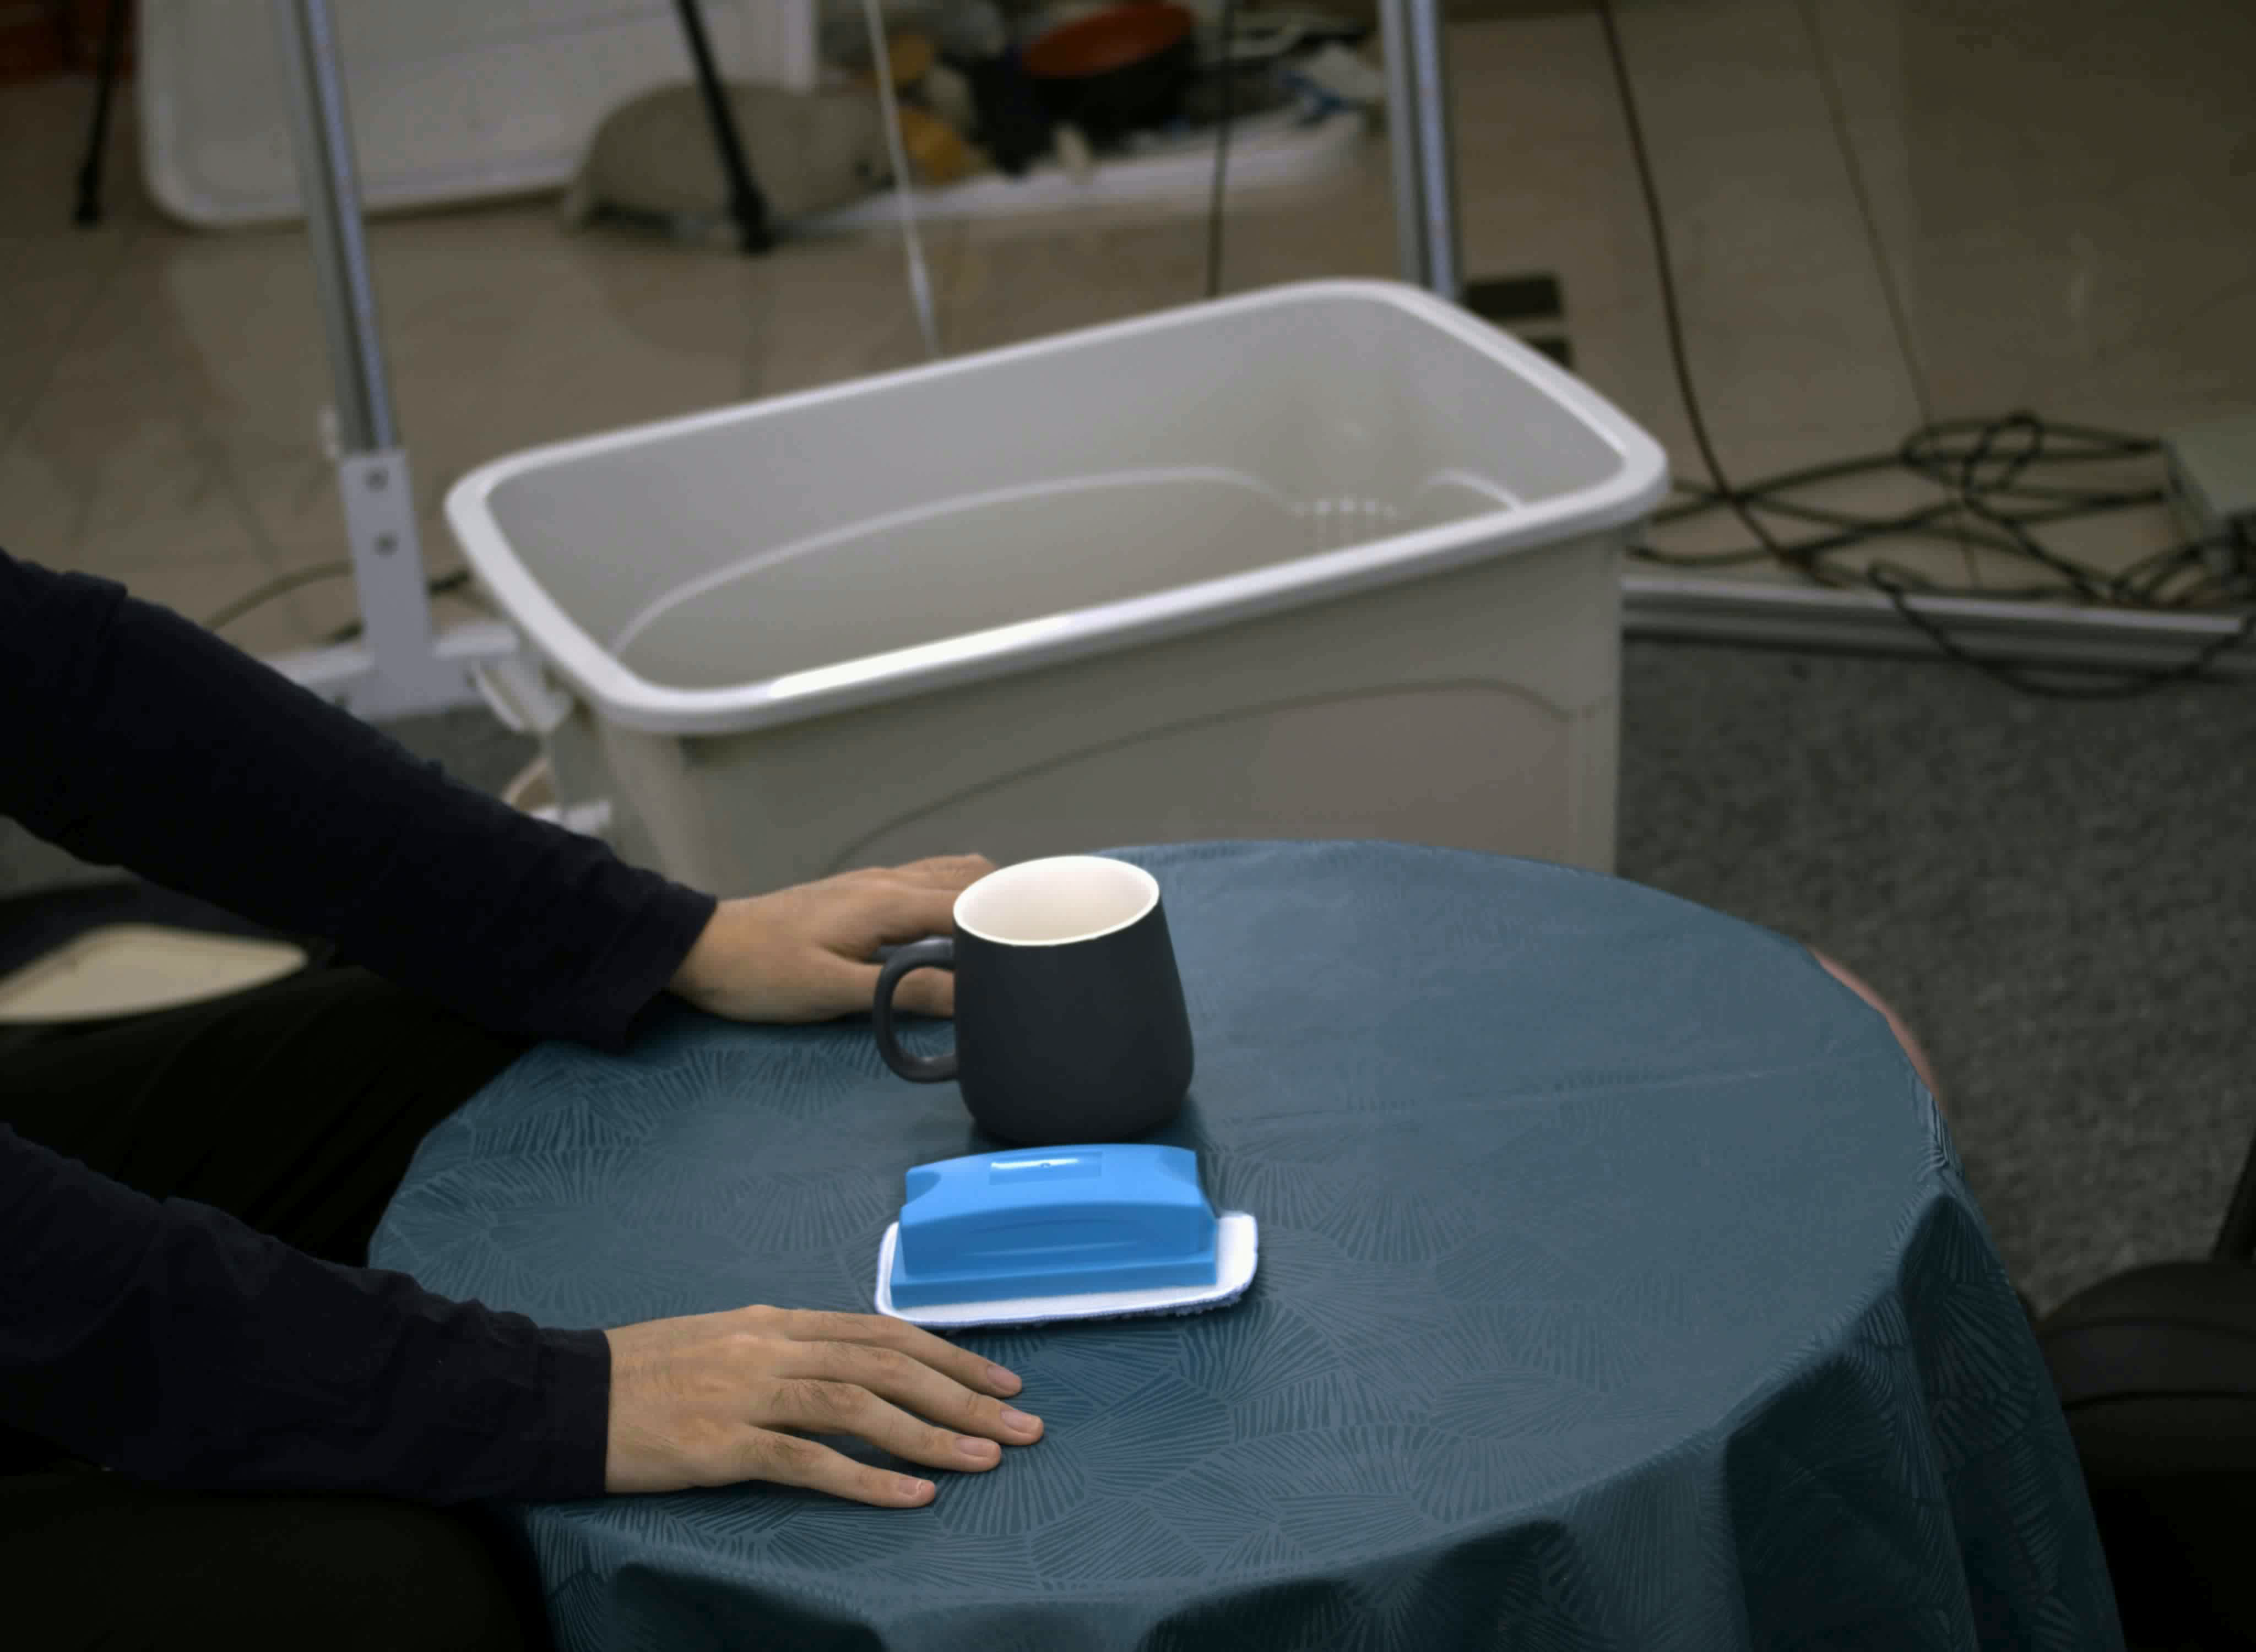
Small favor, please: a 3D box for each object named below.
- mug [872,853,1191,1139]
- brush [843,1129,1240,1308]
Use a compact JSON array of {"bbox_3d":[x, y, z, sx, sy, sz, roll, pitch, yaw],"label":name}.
[{"bbox_3d":[-0.038,0.067,2.197,0.123,0.091,0.092,-3,24,4],"label":"mug"},{"bbox_3d":[-0.032,0.141,2.077,0.144,0.057,0.083,-1,22,5],"label":"brush"}]
